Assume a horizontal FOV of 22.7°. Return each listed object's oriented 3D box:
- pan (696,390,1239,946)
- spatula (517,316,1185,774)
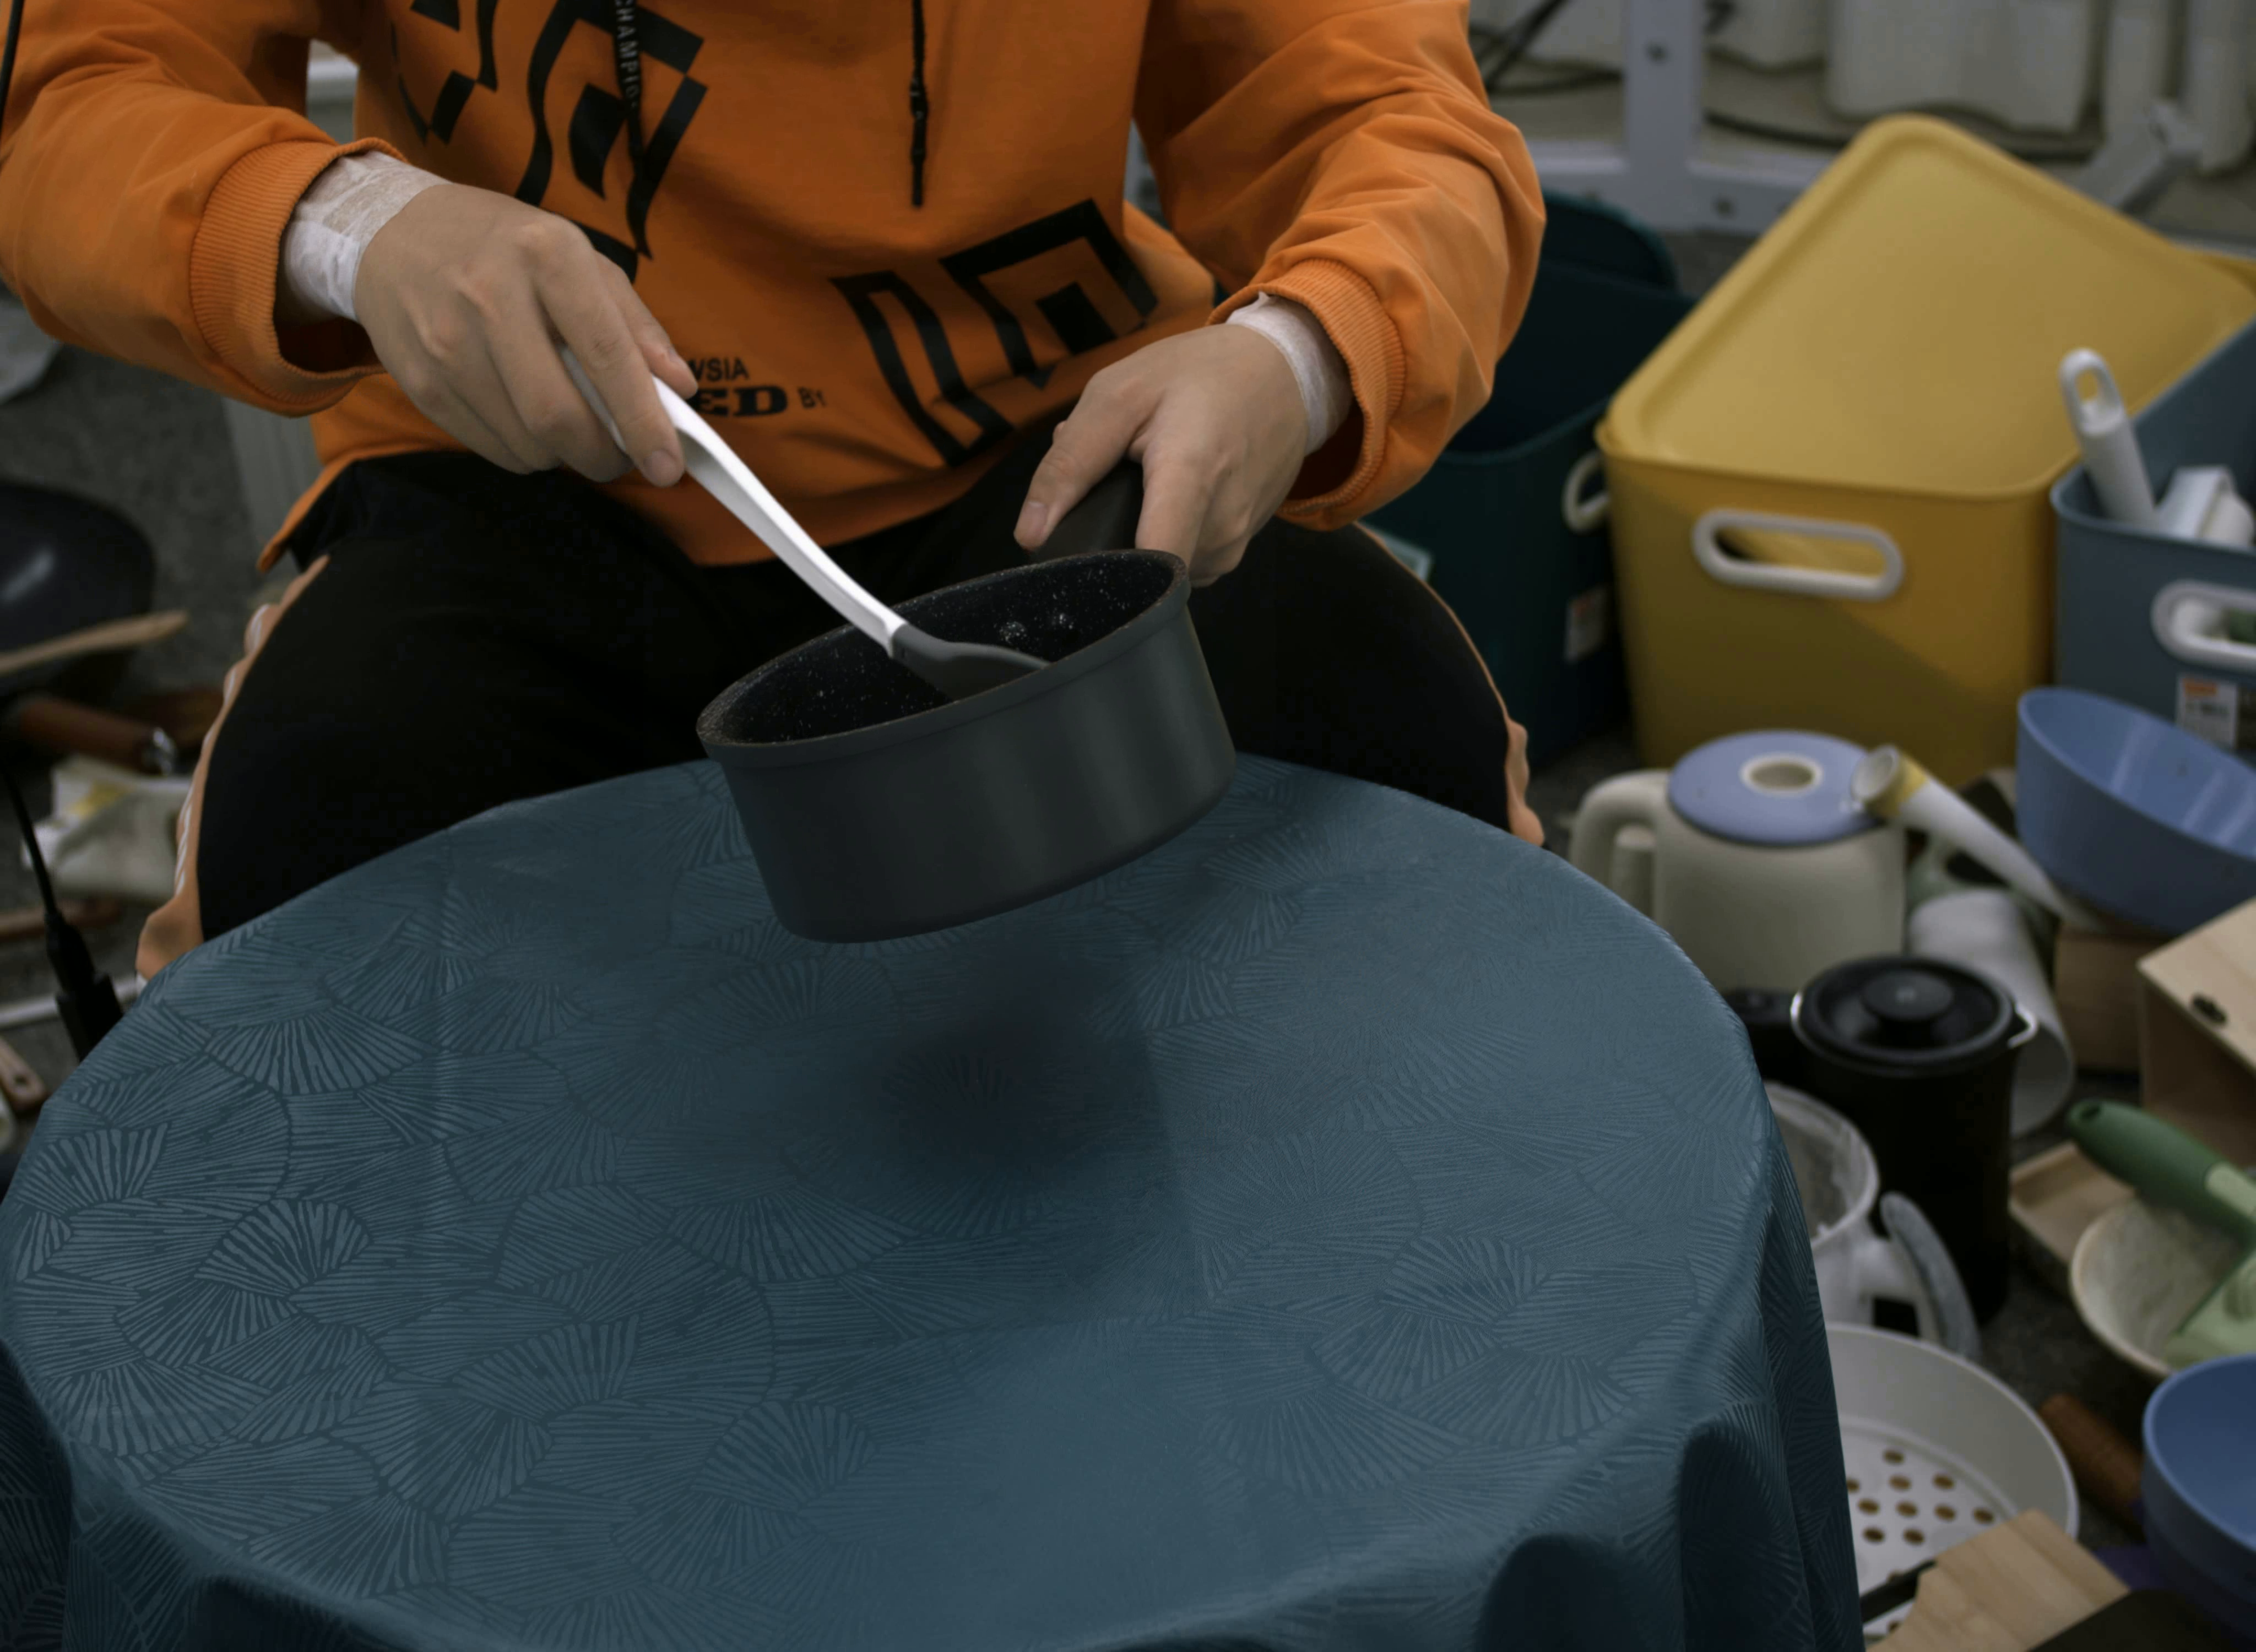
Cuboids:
[{"bbox_3d":[-0.025,-0.058,1.937,0.170,0.086,0.334,-11,18,25],"label":"pan"},{"bbox_3d":[-0.094,-0.088,1.889,0.288,0.058,0.032,35,65,25],"label":"spatula"}]
